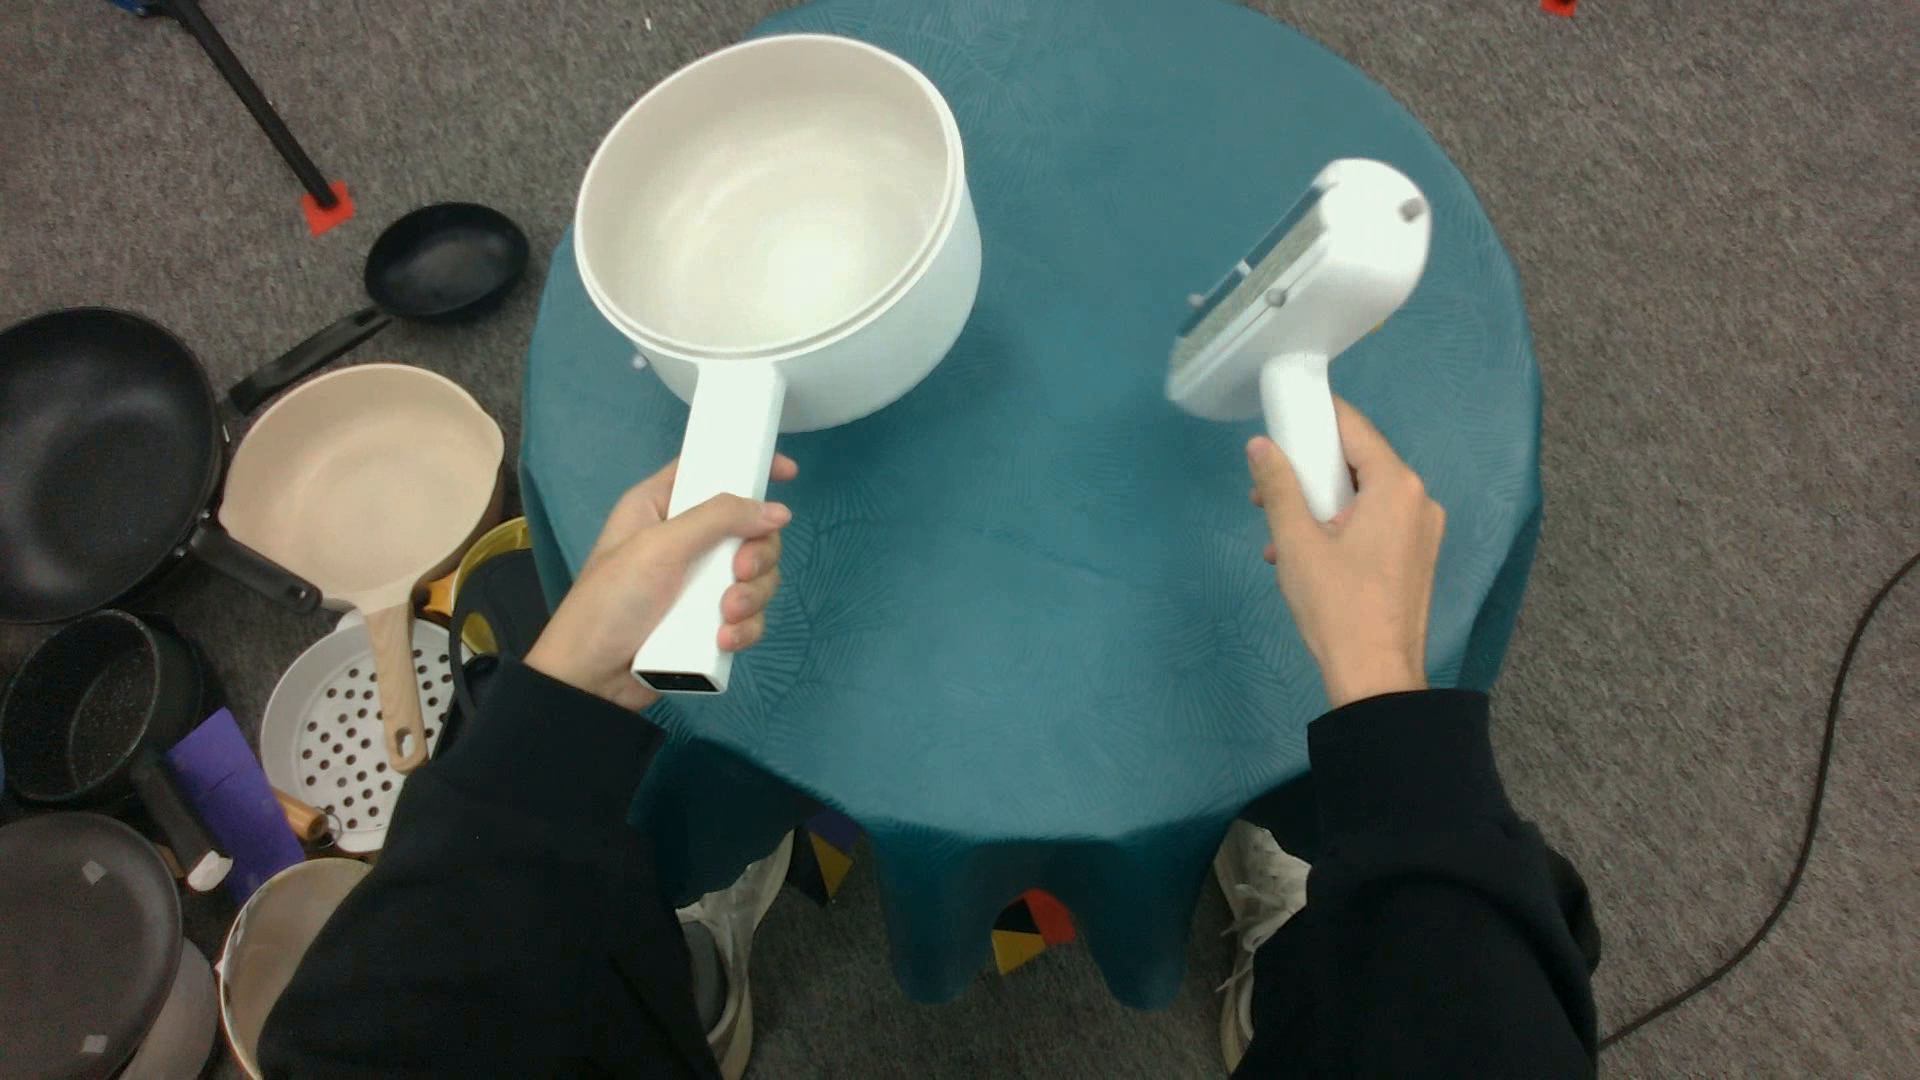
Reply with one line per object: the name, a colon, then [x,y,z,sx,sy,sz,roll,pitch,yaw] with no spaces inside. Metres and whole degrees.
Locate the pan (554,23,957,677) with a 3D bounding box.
pan: [-0.108,-0.093,0.698,0.201,0.102,0.356,2,66,9]

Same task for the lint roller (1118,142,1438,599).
lint roller: [0.148,-0.069,0.661,0.074,0.192,0.193,17,71,-30]
